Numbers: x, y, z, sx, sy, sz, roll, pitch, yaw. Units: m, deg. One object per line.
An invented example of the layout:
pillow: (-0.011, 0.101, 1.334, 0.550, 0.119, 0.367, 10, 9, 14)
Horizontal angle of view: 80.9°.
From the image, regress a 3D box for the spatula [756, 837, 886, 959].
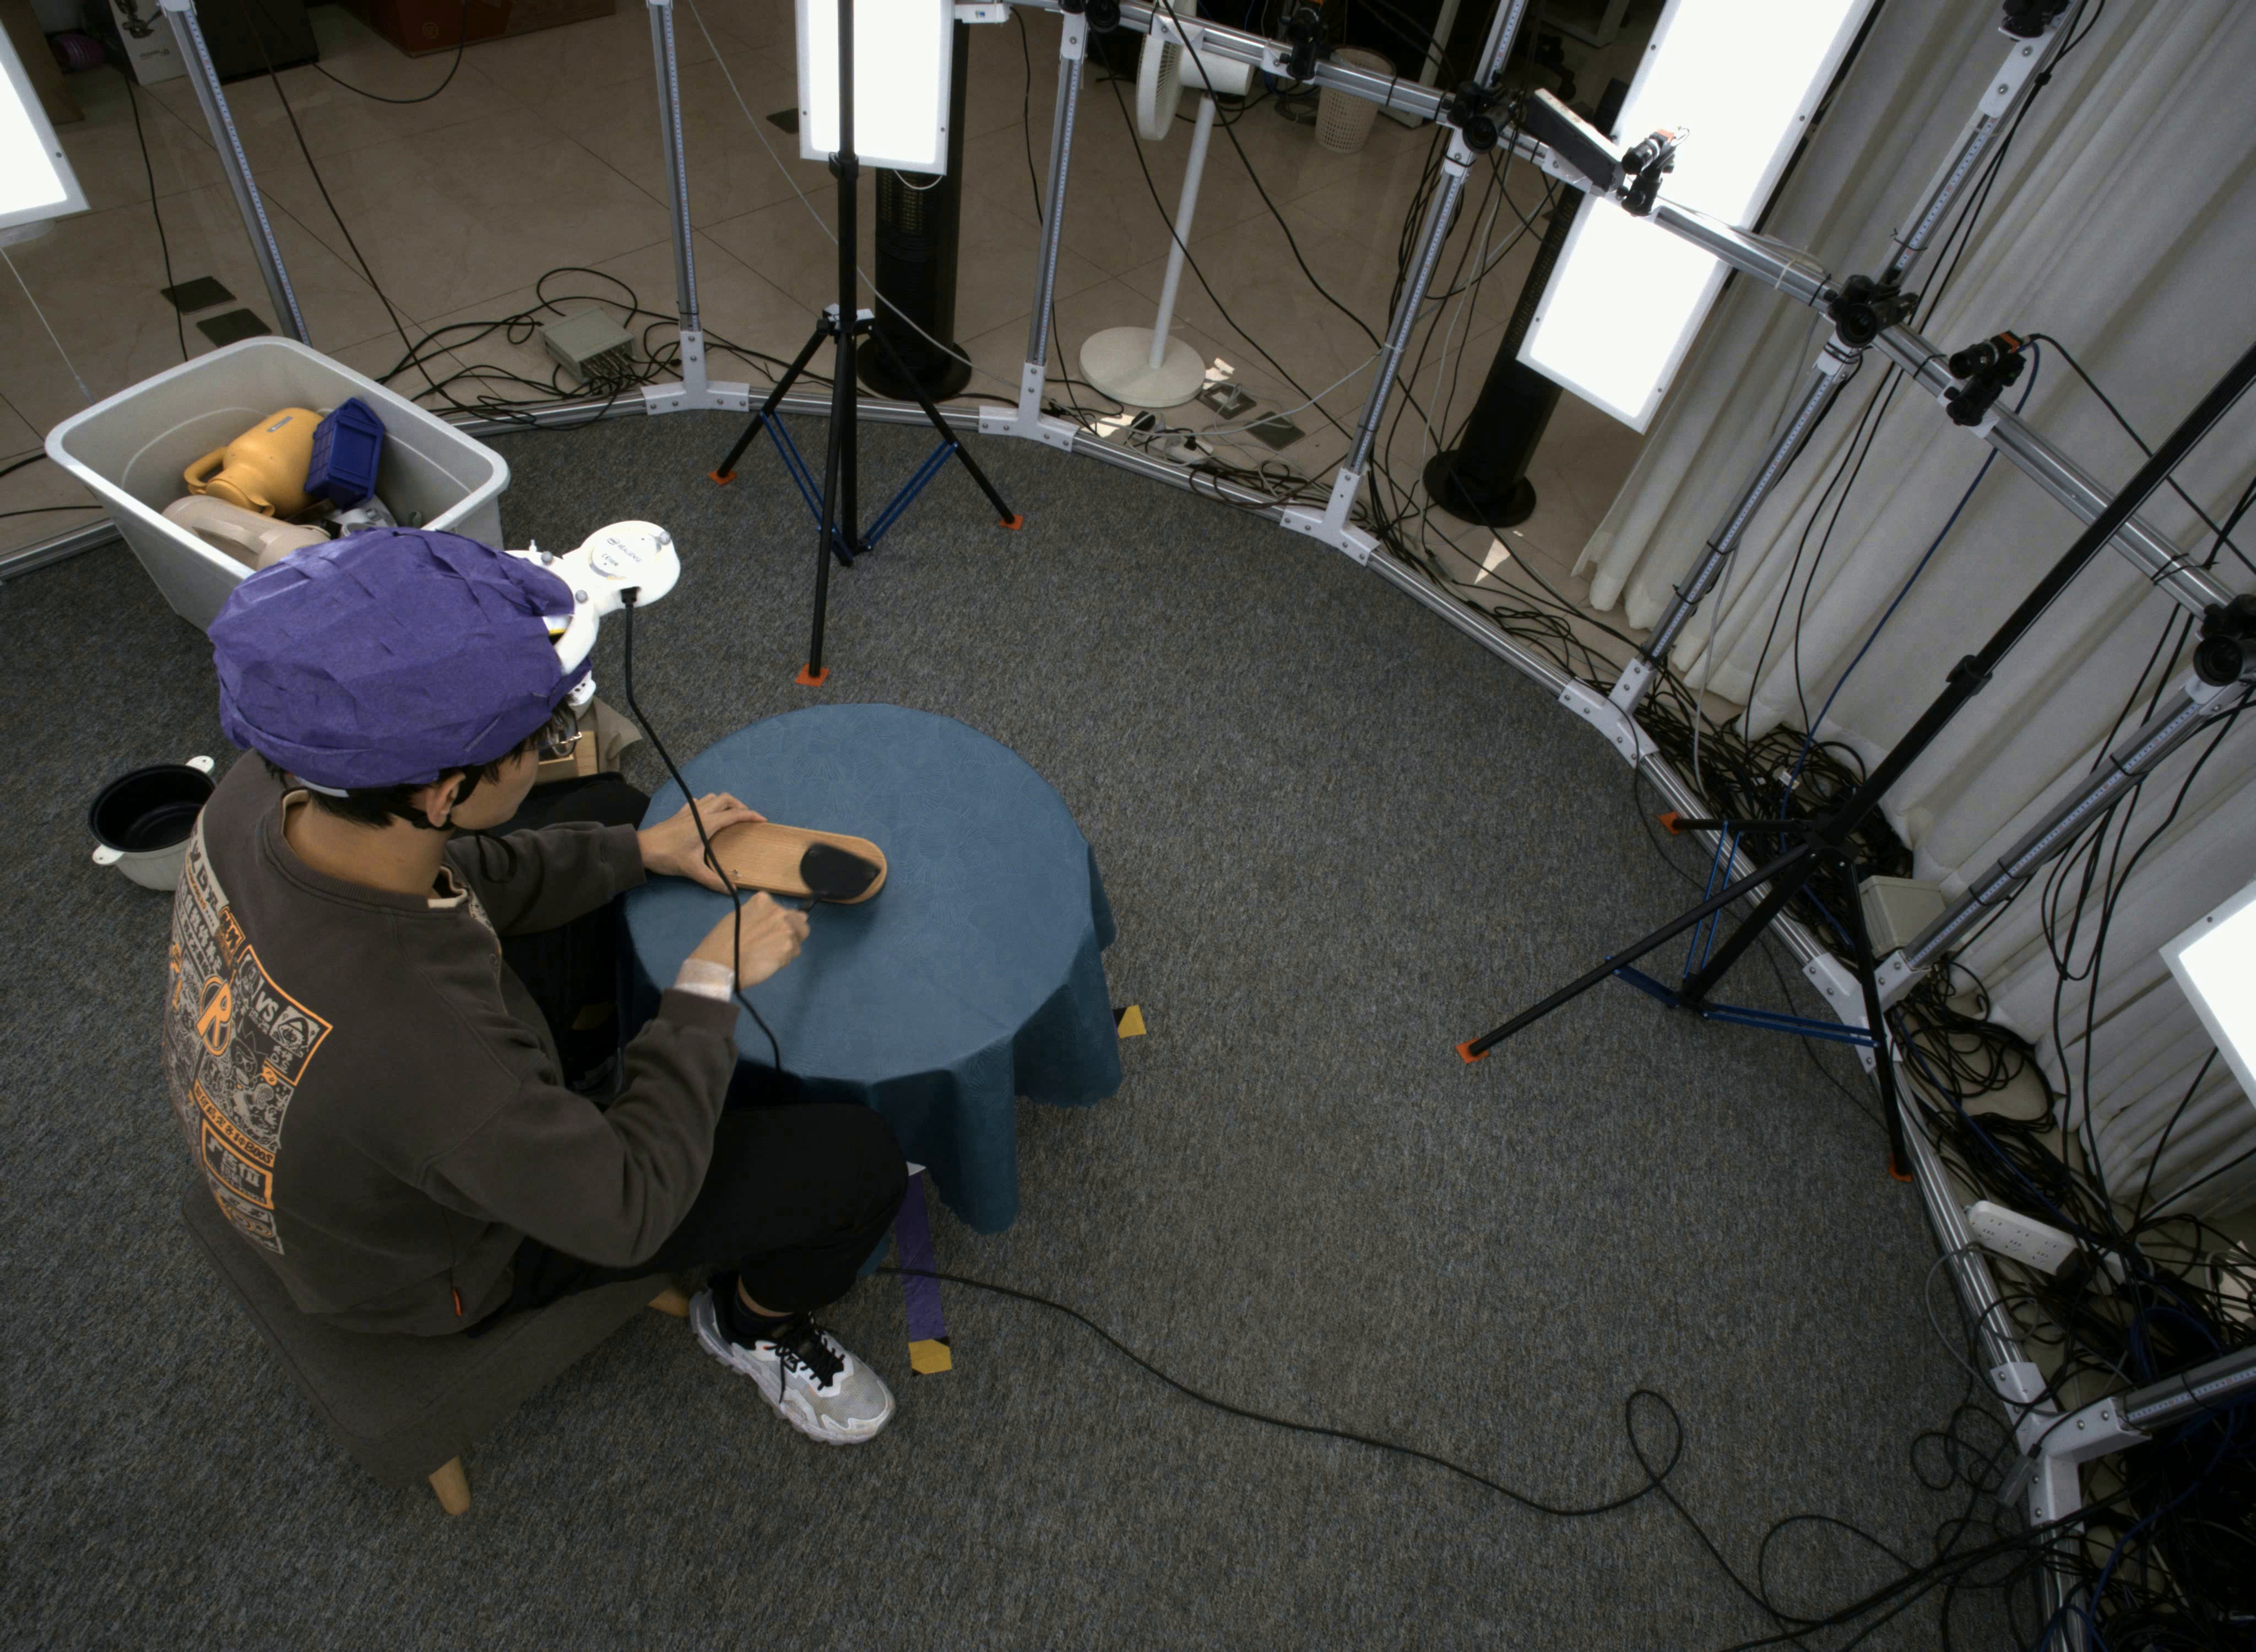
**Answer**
spatula: (-0.372, 0.084, 1.519, 0.099, 0.041, 0.322, 22, 15, -2)

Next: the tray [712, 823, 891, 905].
tray: (-0.426, 0.049, 1.692, 0.230, 0.021, 0.100, 10, 54, -8)
